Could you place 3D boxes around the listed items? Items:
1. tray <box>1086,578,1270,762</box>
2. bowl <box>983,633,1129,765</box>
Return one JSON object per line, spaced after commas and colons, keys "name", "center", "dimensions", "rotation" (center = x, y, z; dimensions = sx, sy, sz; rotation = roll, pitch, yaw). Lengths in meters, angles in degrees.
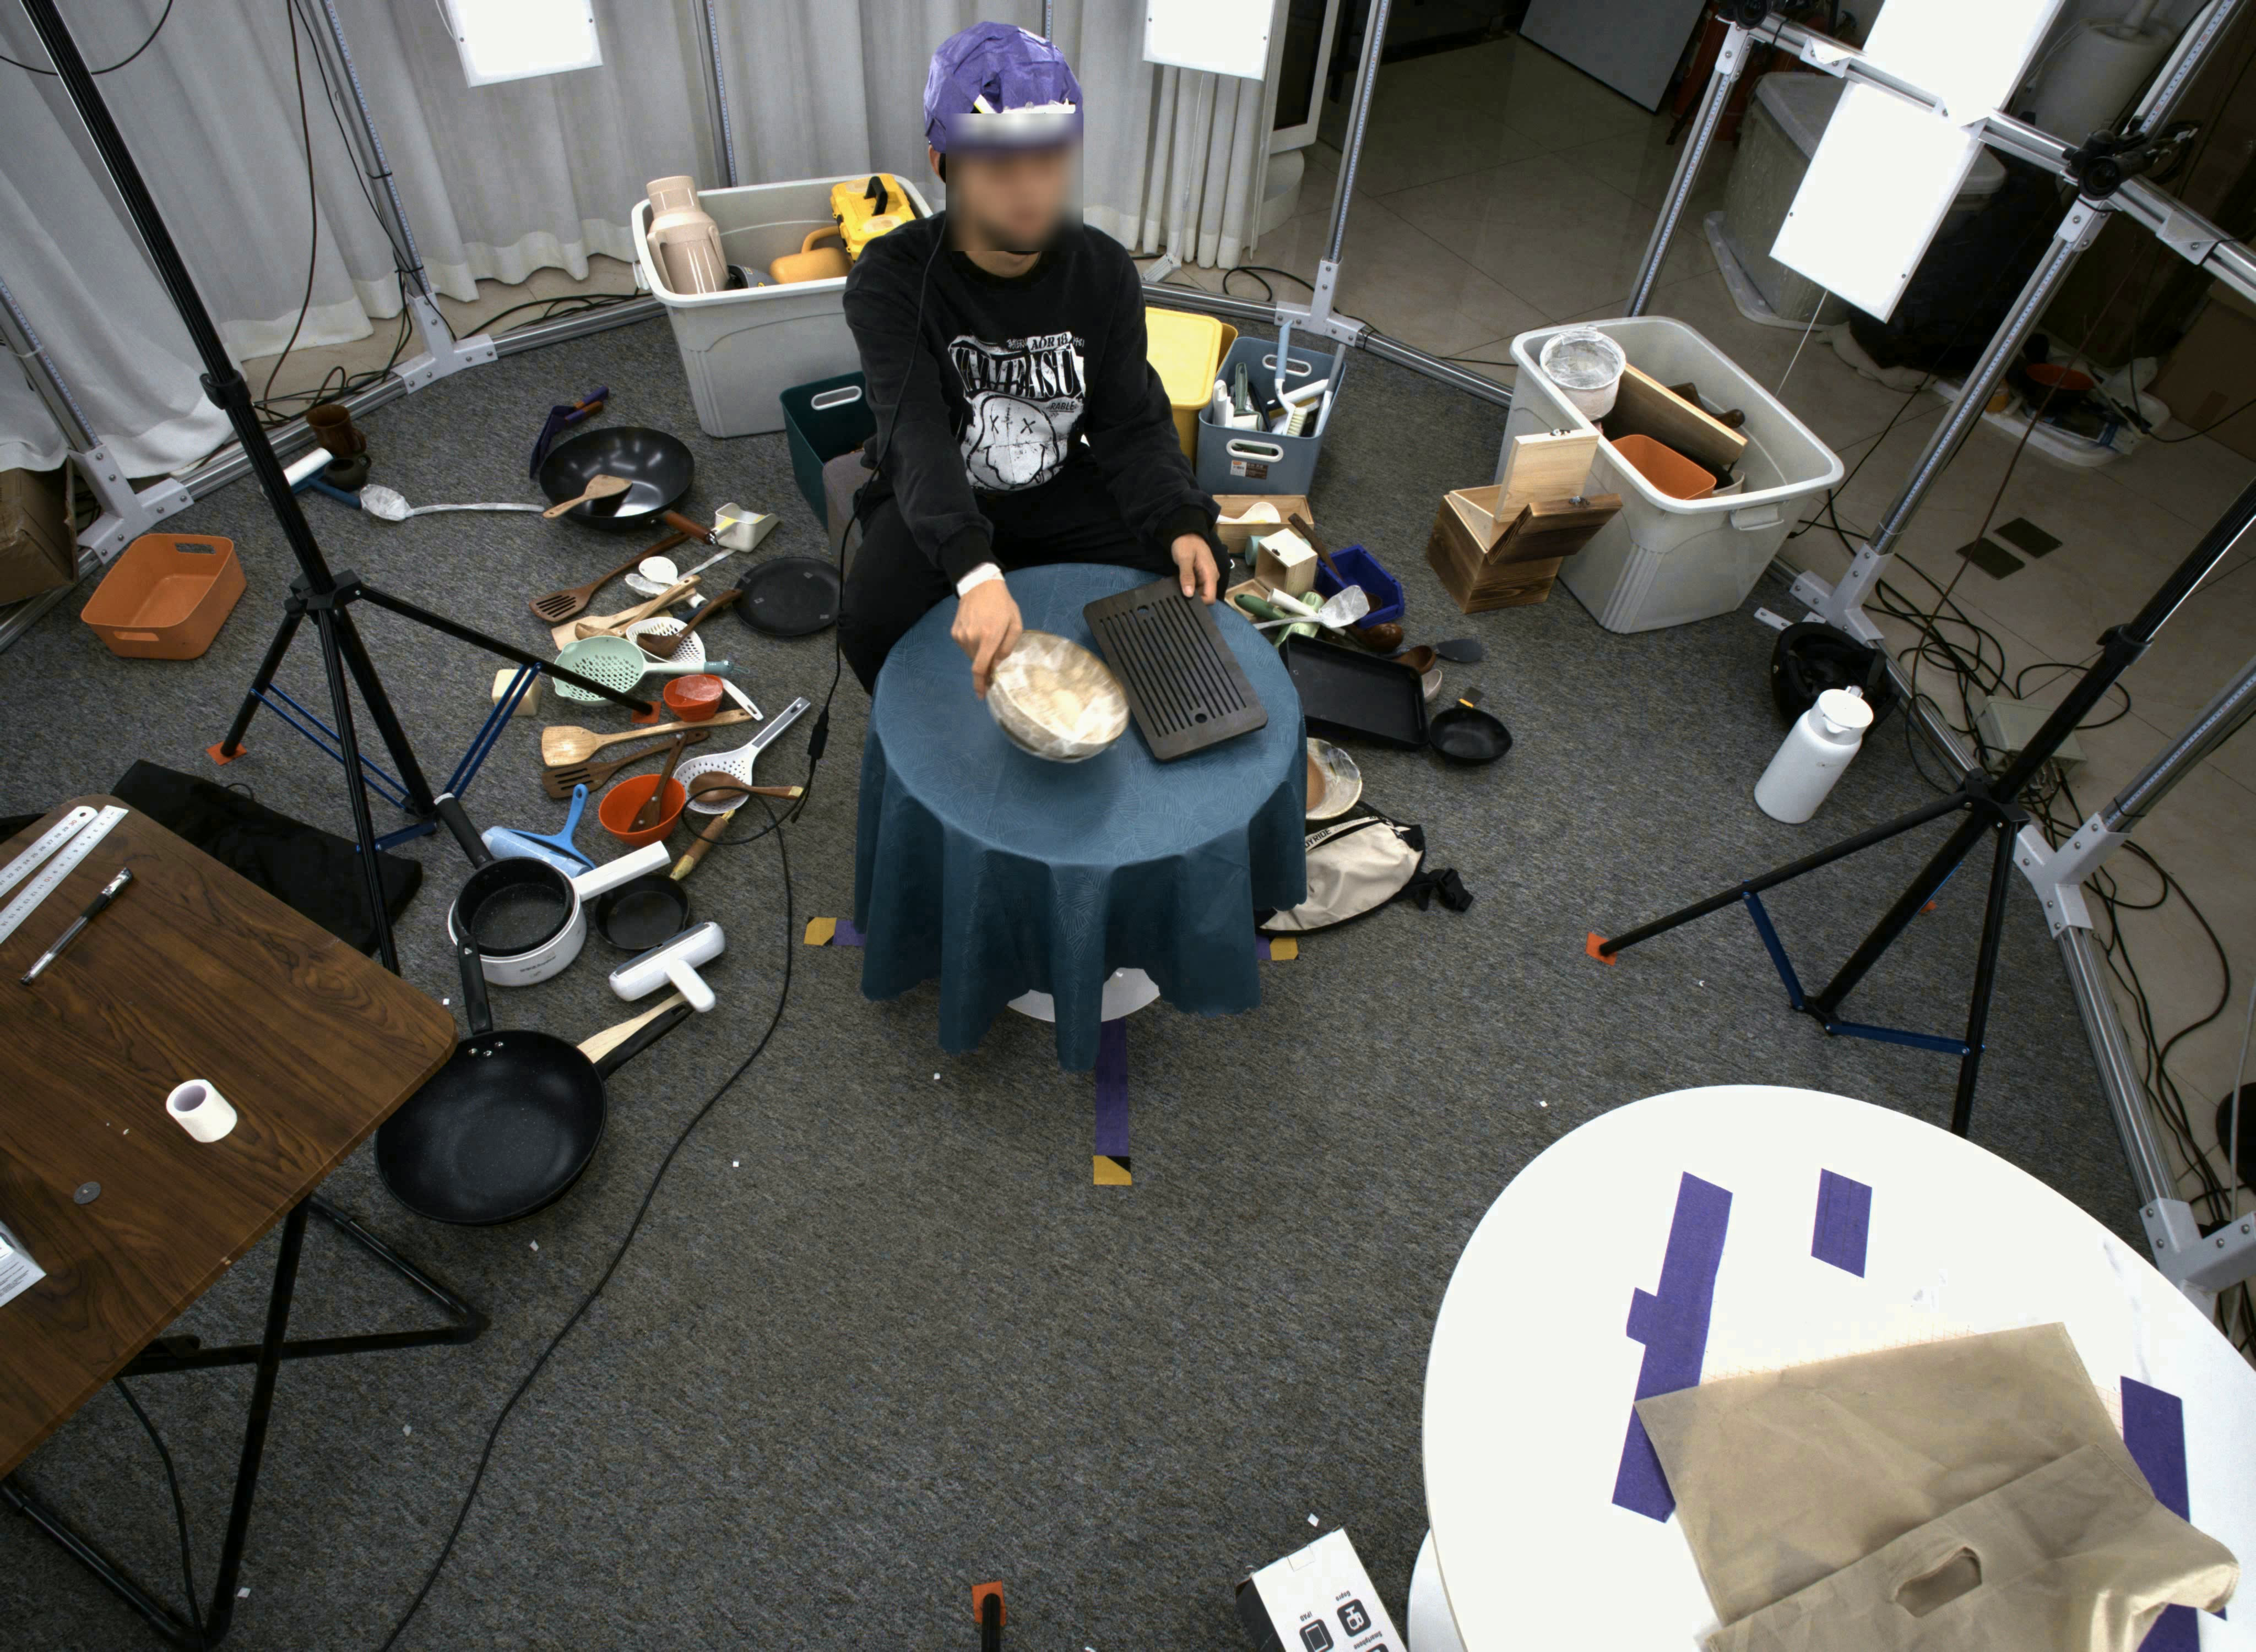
{"name": "tray", "center": [0.068, -0.229, 1.848], "dimensions": [0.170, 0.018, 0.313], "rotation": [-19, 57, -9]}
{"name": "bowl", "center": [-0.109, -0.154, 1.712], "dimensions": [0.213, 0.093, 0.220], "rotation": [23, 39, -20]}
